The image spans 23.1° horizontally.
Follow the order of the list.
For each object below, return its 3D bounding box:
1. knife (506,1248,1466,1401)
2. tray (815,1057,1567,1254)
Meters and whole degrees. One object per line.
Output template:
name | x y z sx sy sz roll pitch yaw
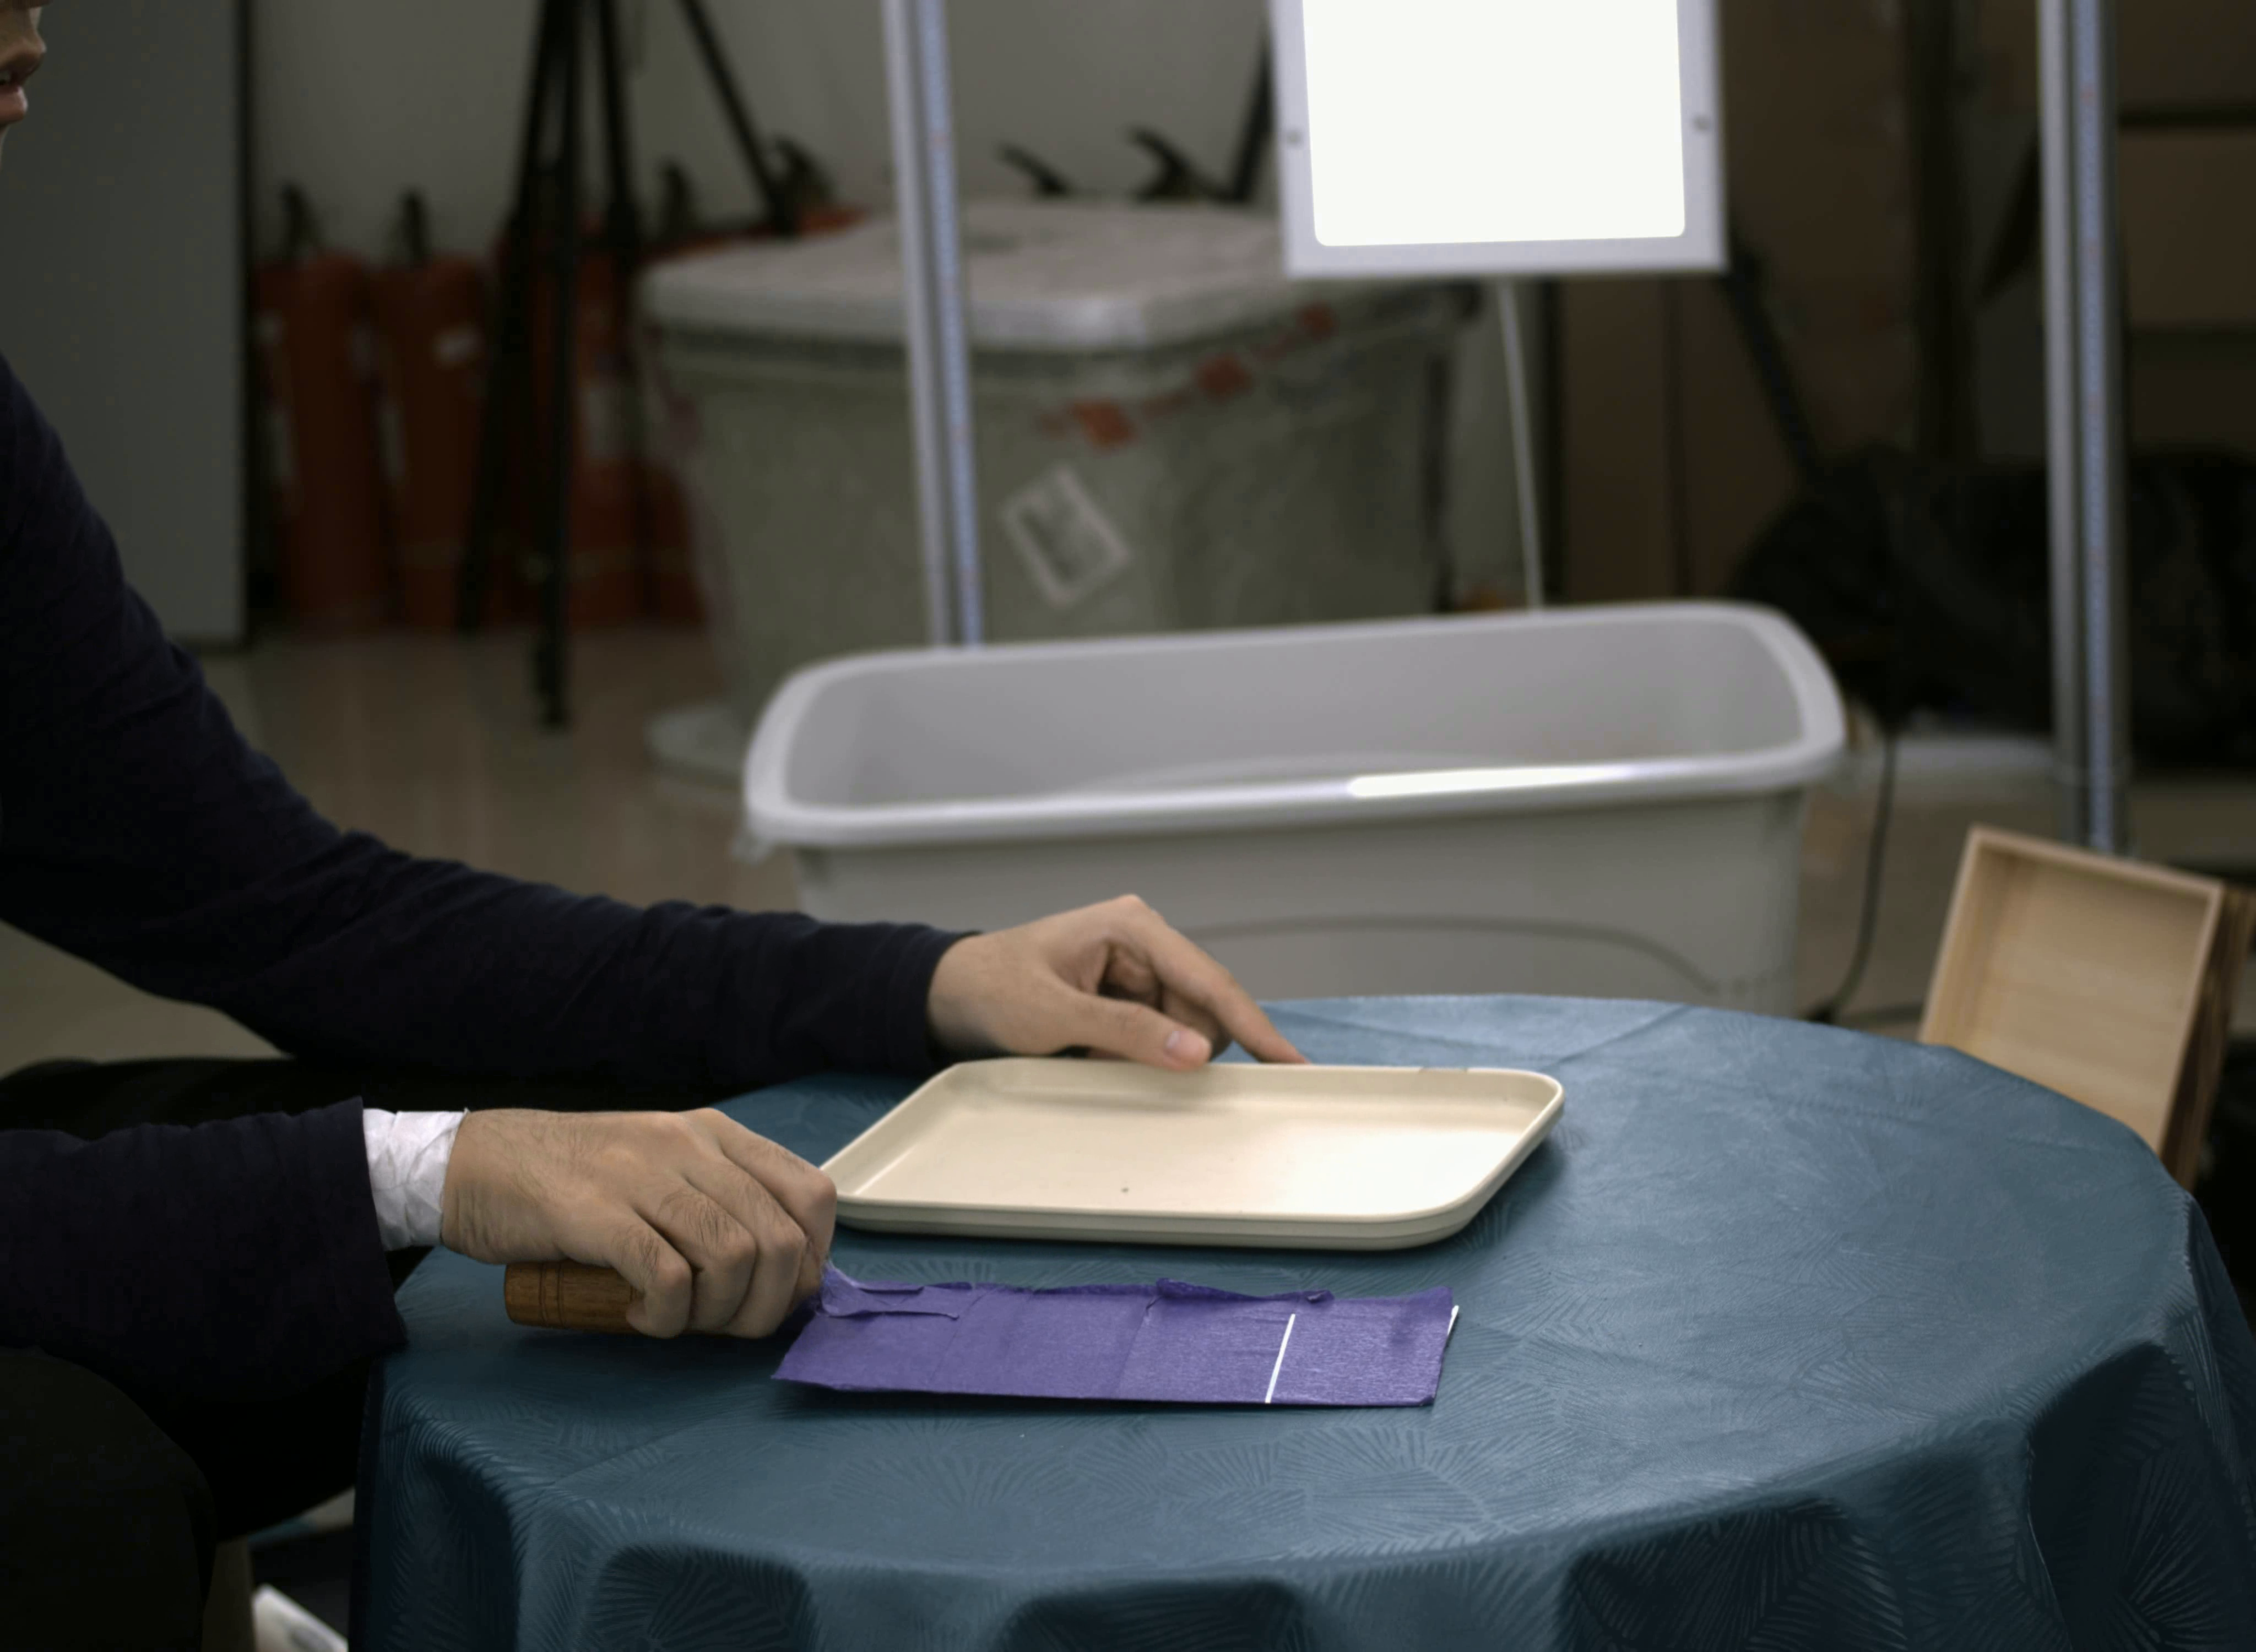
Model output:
knife | -0.052 0.157 1.741 0.317 0.032 0.102 -2 14 13
tray | 0.024 0.114 1.910 0.243 0.017 0.168 0 15 22
